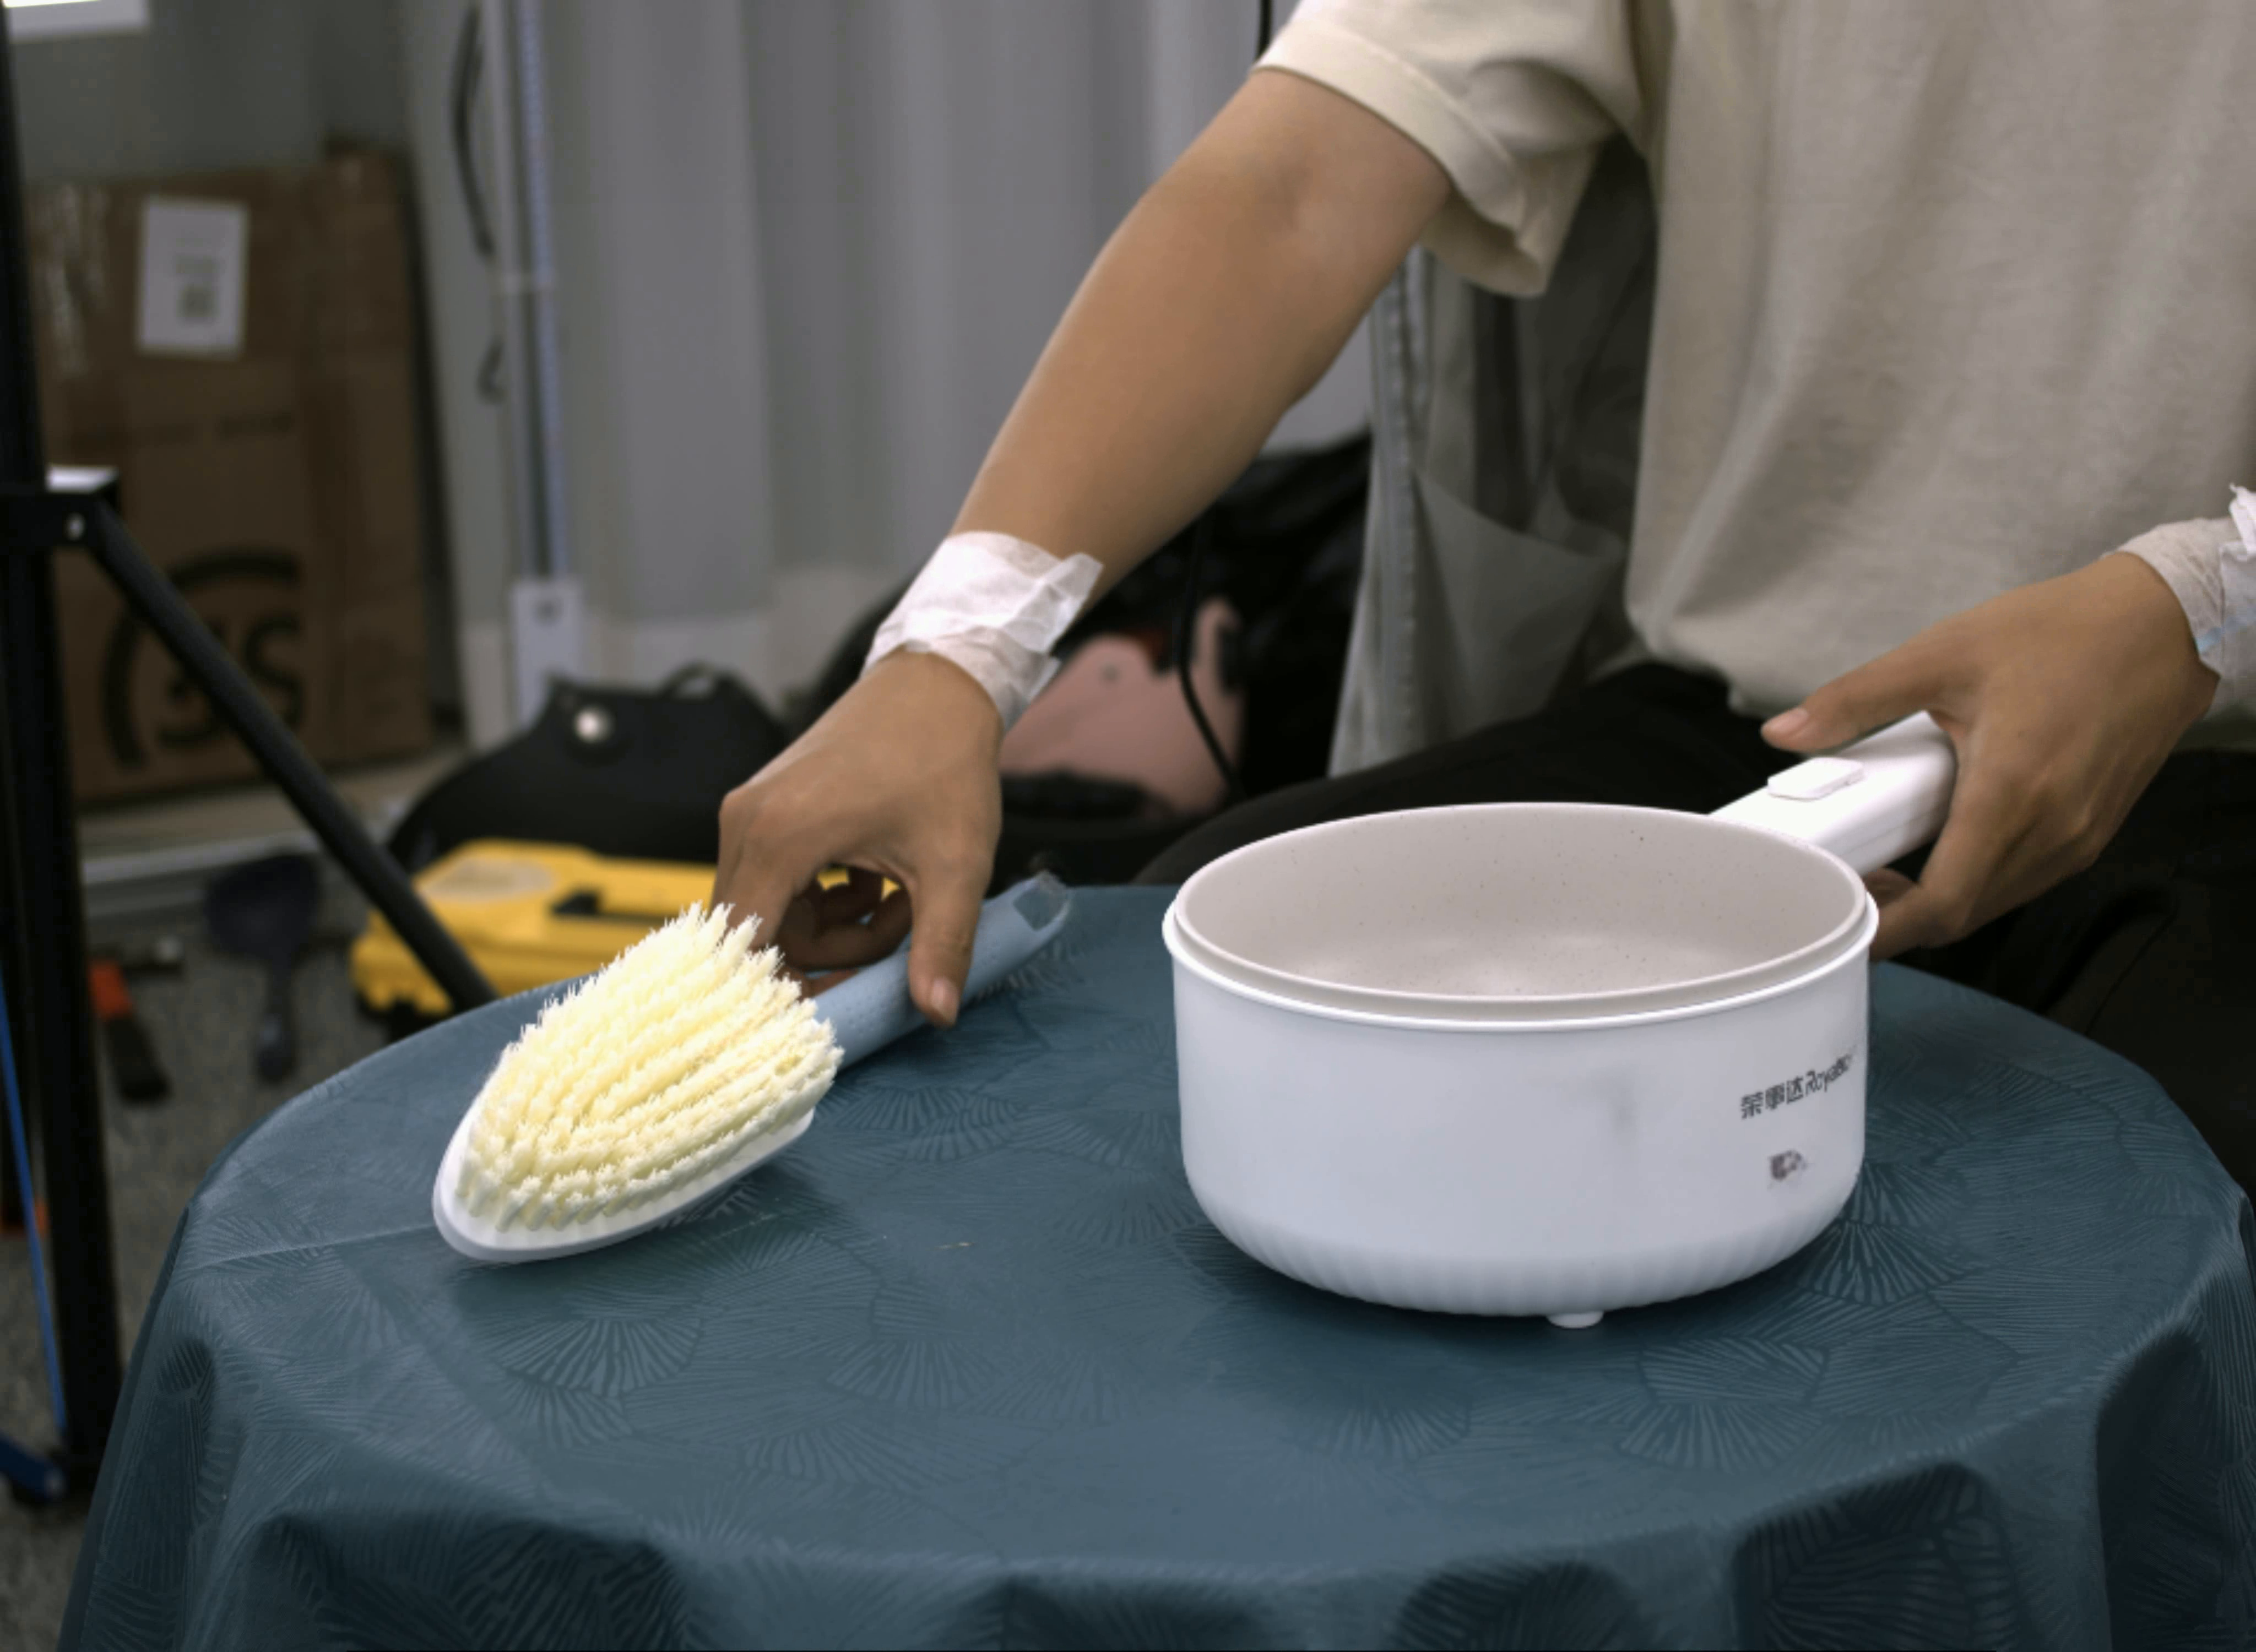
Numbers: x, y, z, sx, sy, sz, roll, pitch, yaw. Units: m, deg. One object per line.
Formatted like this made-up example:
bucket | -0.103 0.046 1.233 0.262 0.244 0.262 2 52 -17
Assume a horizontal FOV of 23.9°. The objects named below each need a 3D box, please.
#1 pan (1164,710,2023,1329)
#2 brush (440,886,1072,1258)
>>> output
pan | 0.158 0.051 1.552 0.205 0.102 0.347 9 19 38
brush | -0.093 0.050 1.627 0.086 0.083 0.319 1 16 33
